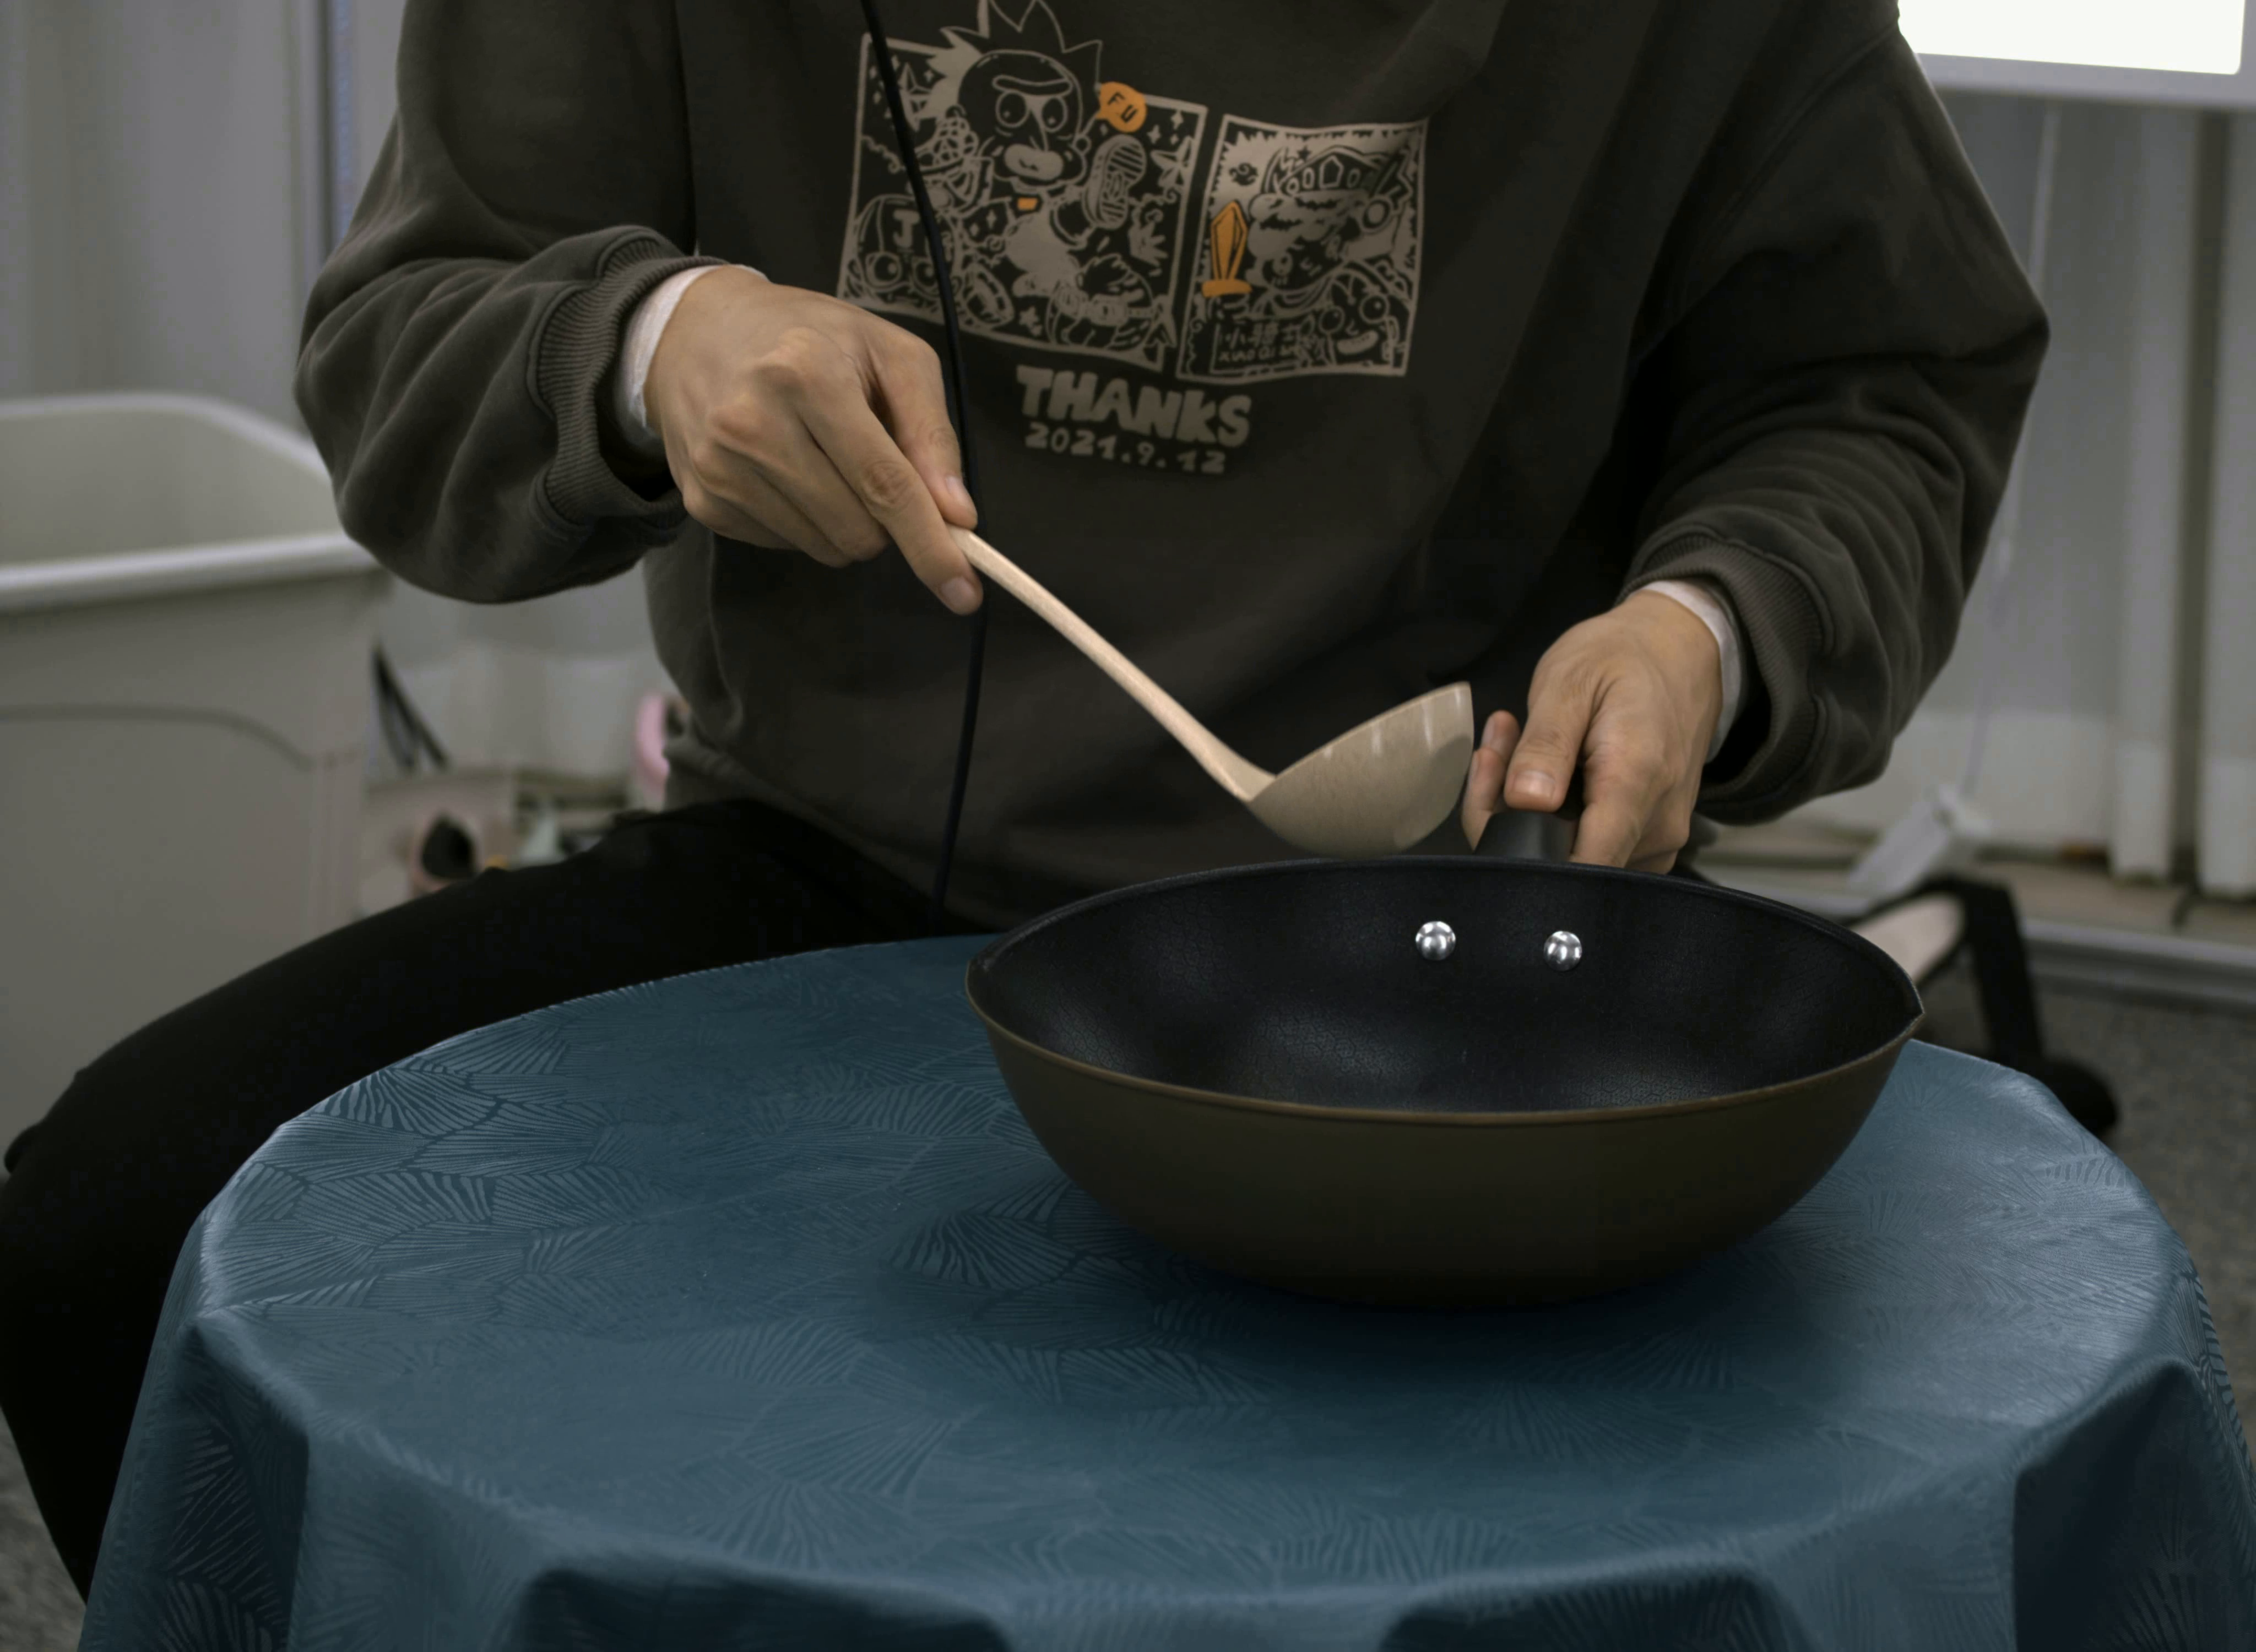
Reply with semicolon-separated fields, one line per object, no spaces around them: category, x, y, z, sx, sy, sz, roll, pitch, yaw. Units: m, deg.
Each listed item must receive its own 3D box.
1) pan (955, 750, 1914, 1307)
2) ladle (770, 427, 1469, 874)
pan;0.109;0.061;1.668;0.286;0.087;0.463;4;14;11
ladle;-0.003;-0.078;1.634;0.252;0.073;0.072;39;26;16
